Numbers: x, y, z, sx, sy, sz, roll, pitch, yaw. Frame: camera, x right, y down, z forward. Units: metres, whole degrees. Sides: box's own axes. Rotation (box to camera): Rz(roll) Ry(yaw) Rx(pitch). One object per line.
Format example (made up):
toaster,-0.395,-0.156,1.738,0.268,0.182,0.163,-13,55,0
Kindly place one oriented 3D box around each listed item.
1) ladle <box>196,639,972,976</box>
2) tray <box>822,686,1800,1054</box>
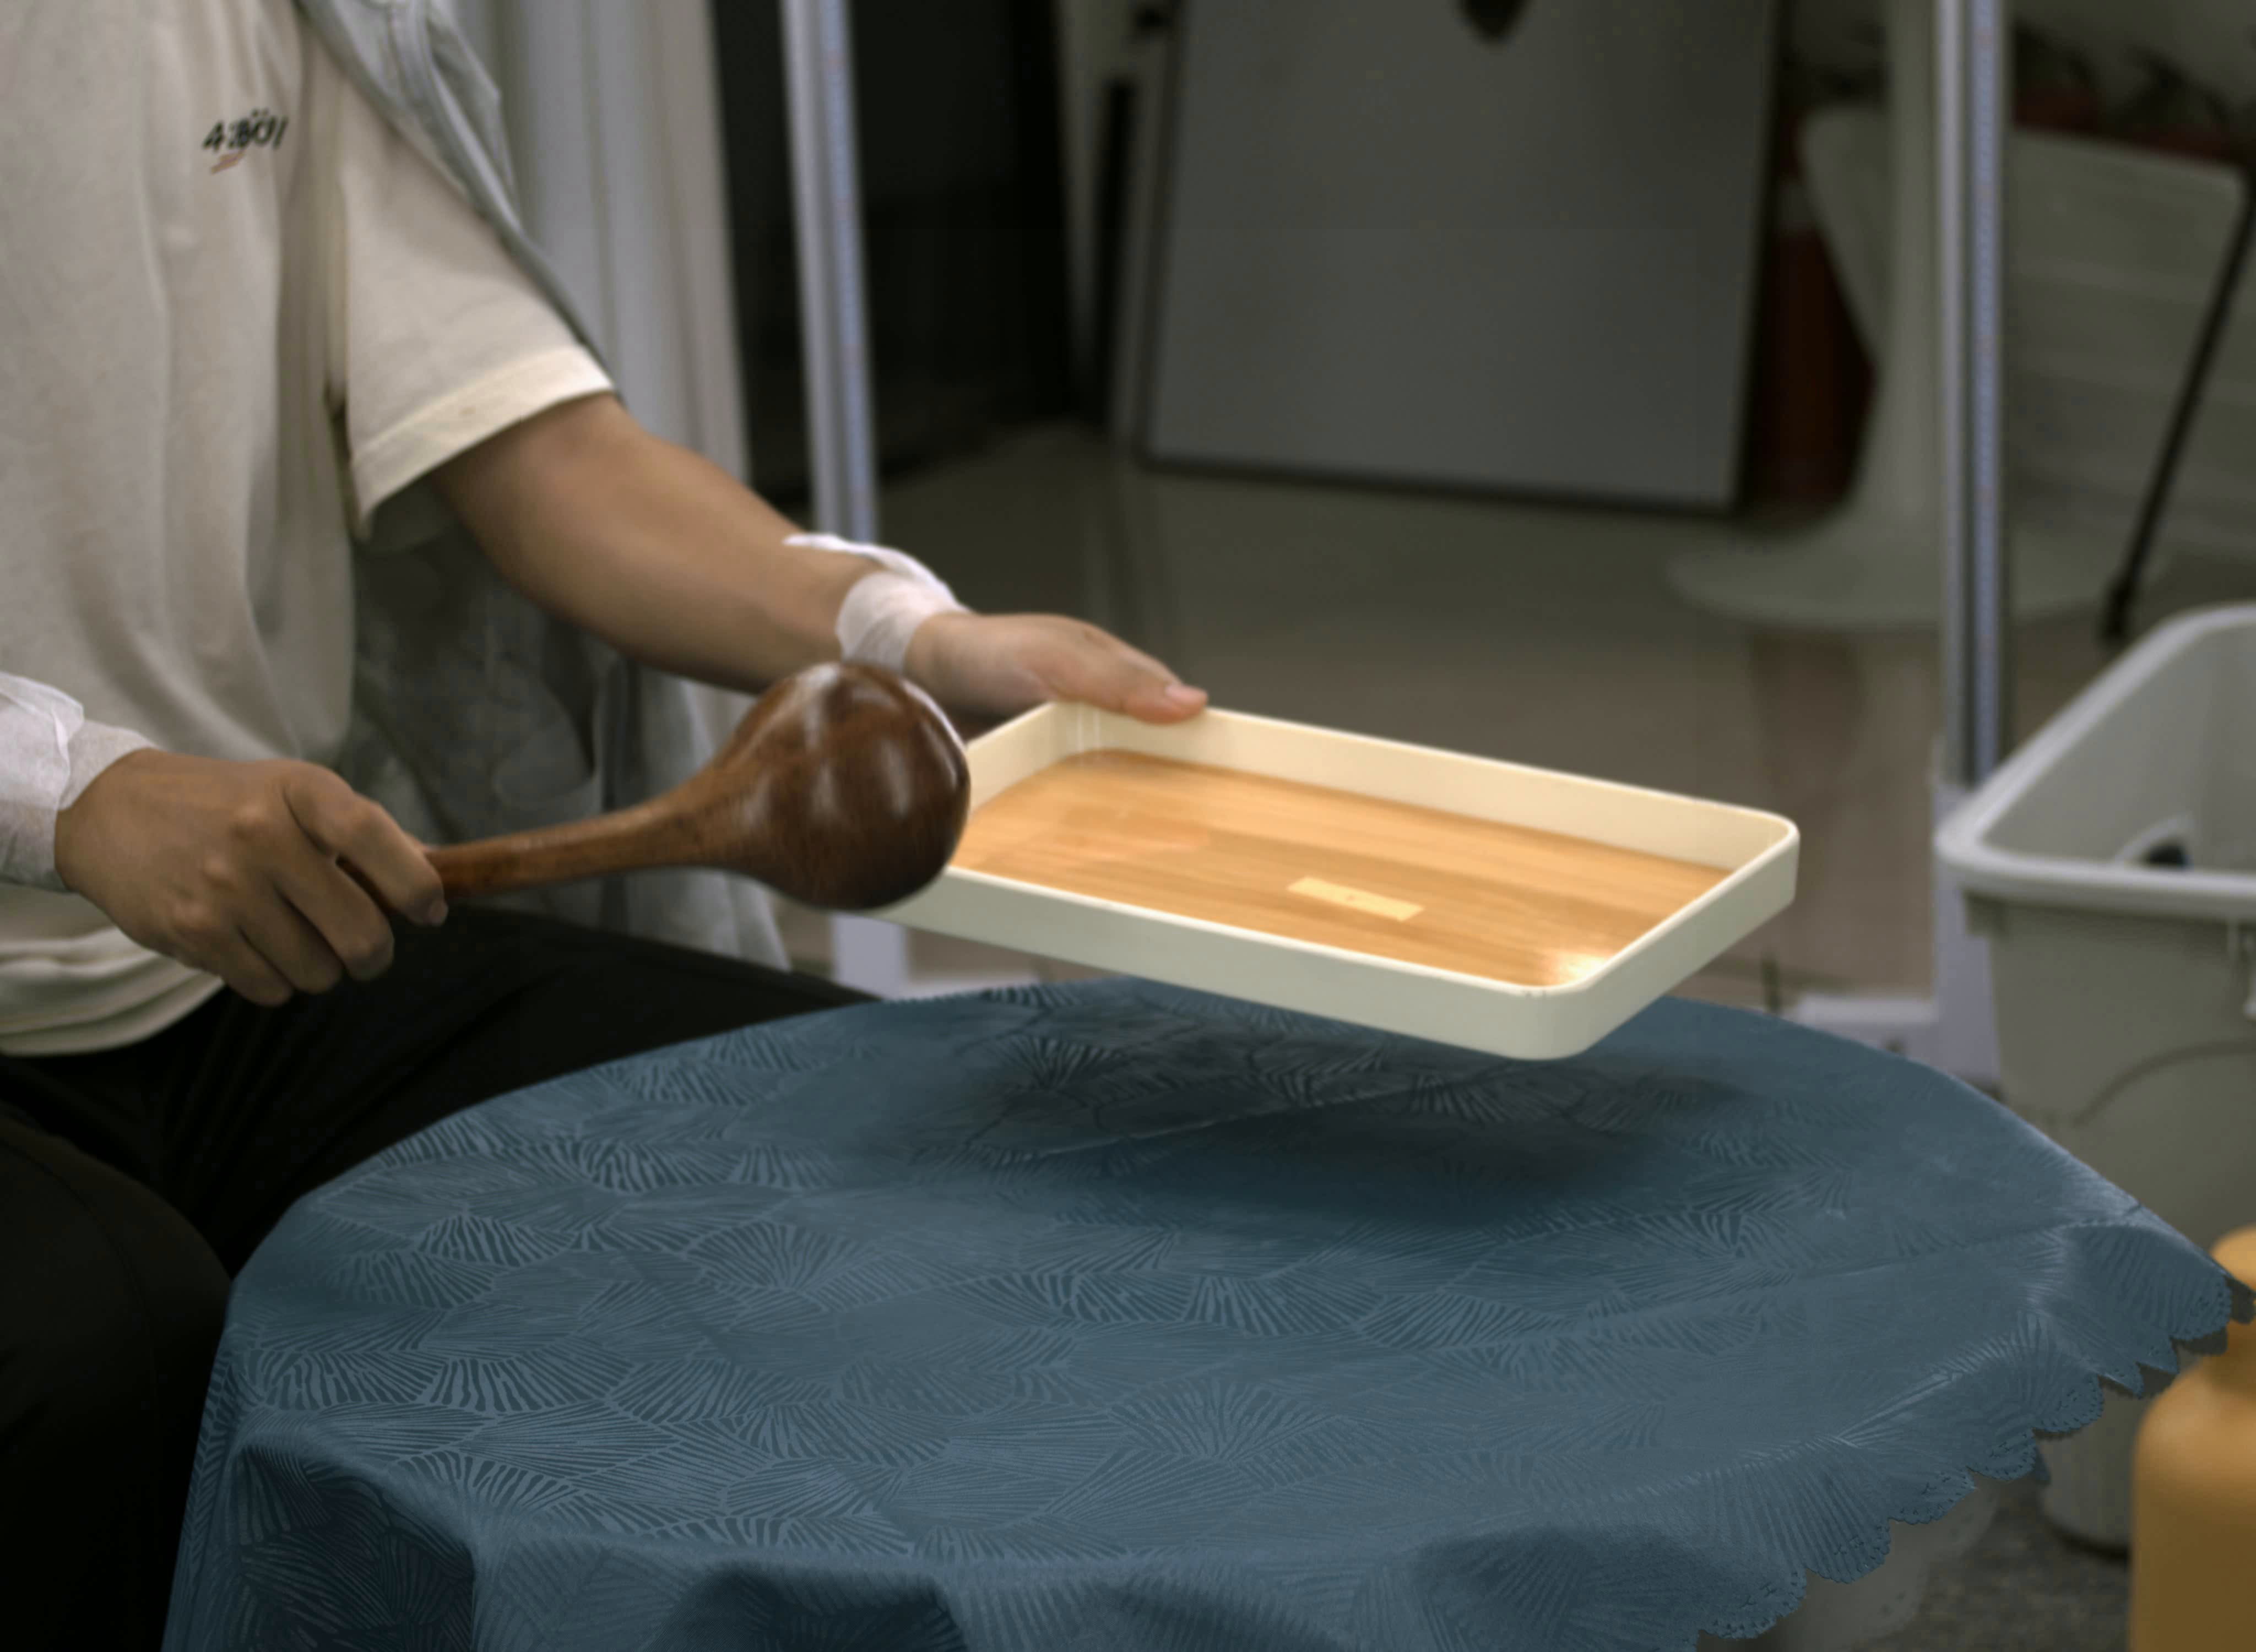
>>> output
ladle,-0.176,0.004,1.756,0.275,0.083,0.075,-14,-3,30
tray,0.061,0.012,1.844,0.302,0.027,0.188,11,24,32
